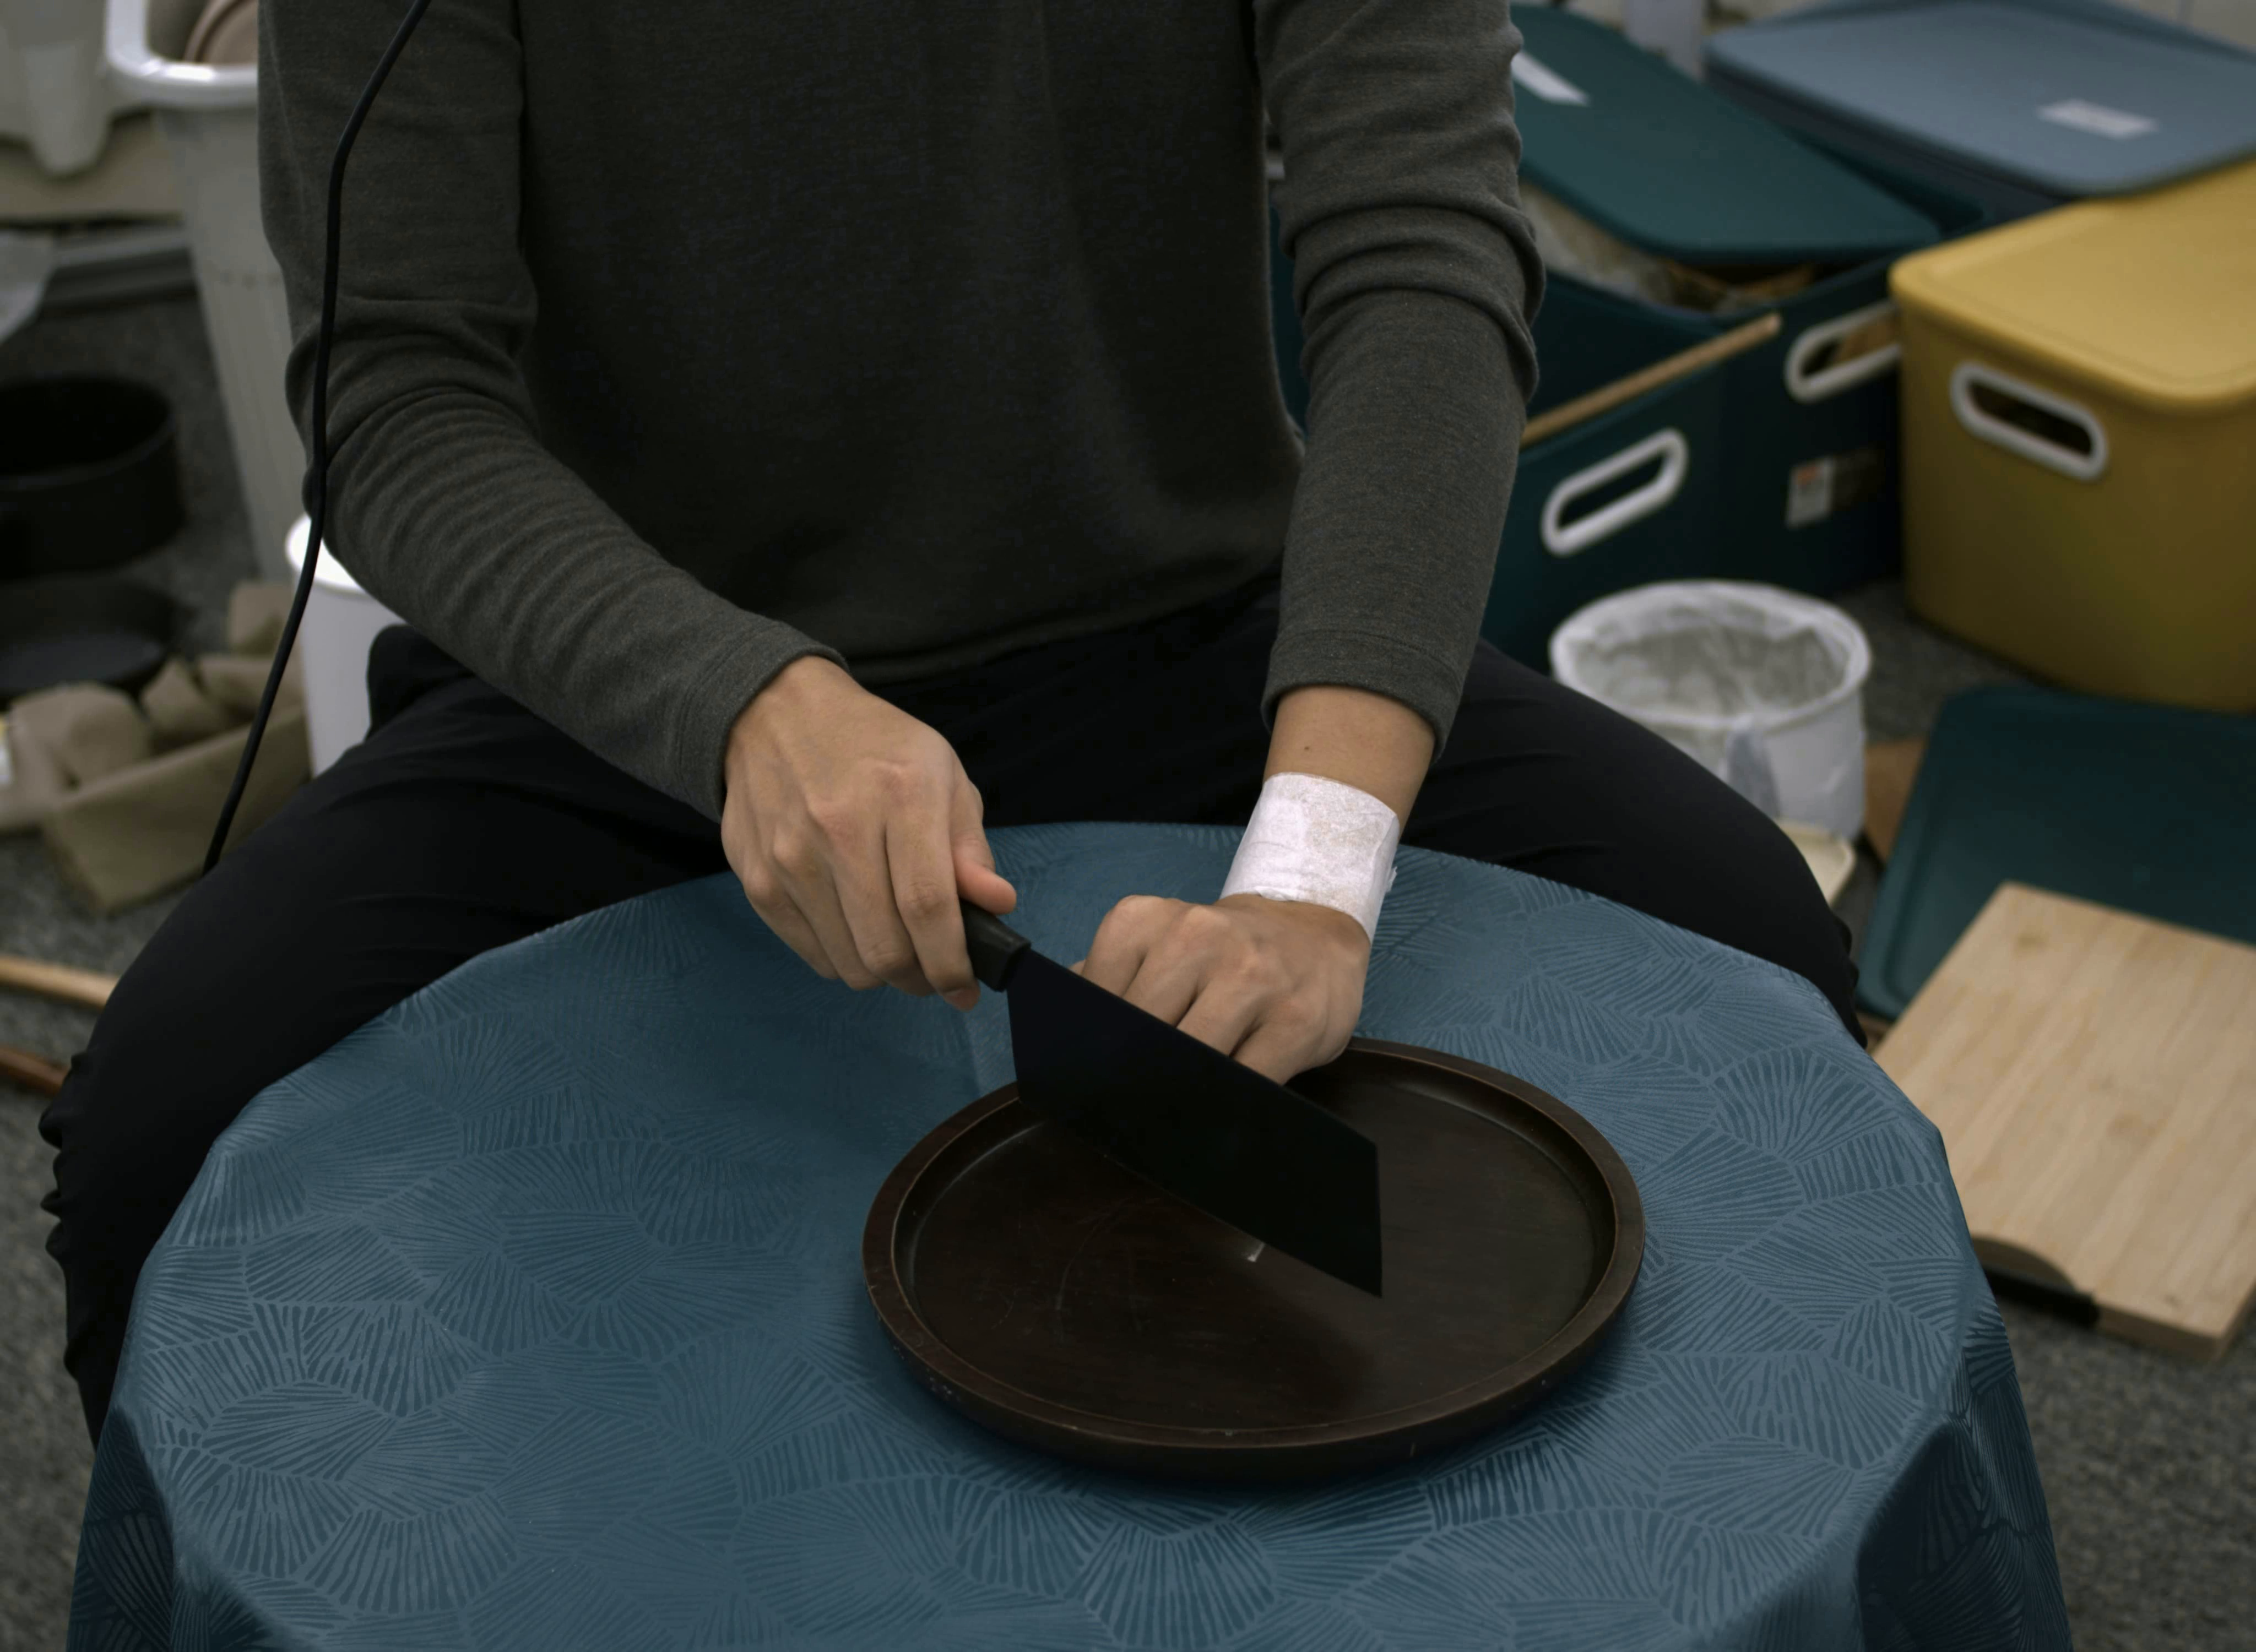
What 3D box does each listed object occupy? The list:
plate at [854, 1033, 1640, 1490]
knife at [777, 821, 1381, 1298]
[{"bbox_3d":[0.038,0.137,1.804,0.253,0.029,0.259,-3,28,2],"label":"plate"},{"bbox_3d":[-0.019,0.070,1.836,0.021,0.080,0.303,-22,38,-34],"label":"knife"}]
